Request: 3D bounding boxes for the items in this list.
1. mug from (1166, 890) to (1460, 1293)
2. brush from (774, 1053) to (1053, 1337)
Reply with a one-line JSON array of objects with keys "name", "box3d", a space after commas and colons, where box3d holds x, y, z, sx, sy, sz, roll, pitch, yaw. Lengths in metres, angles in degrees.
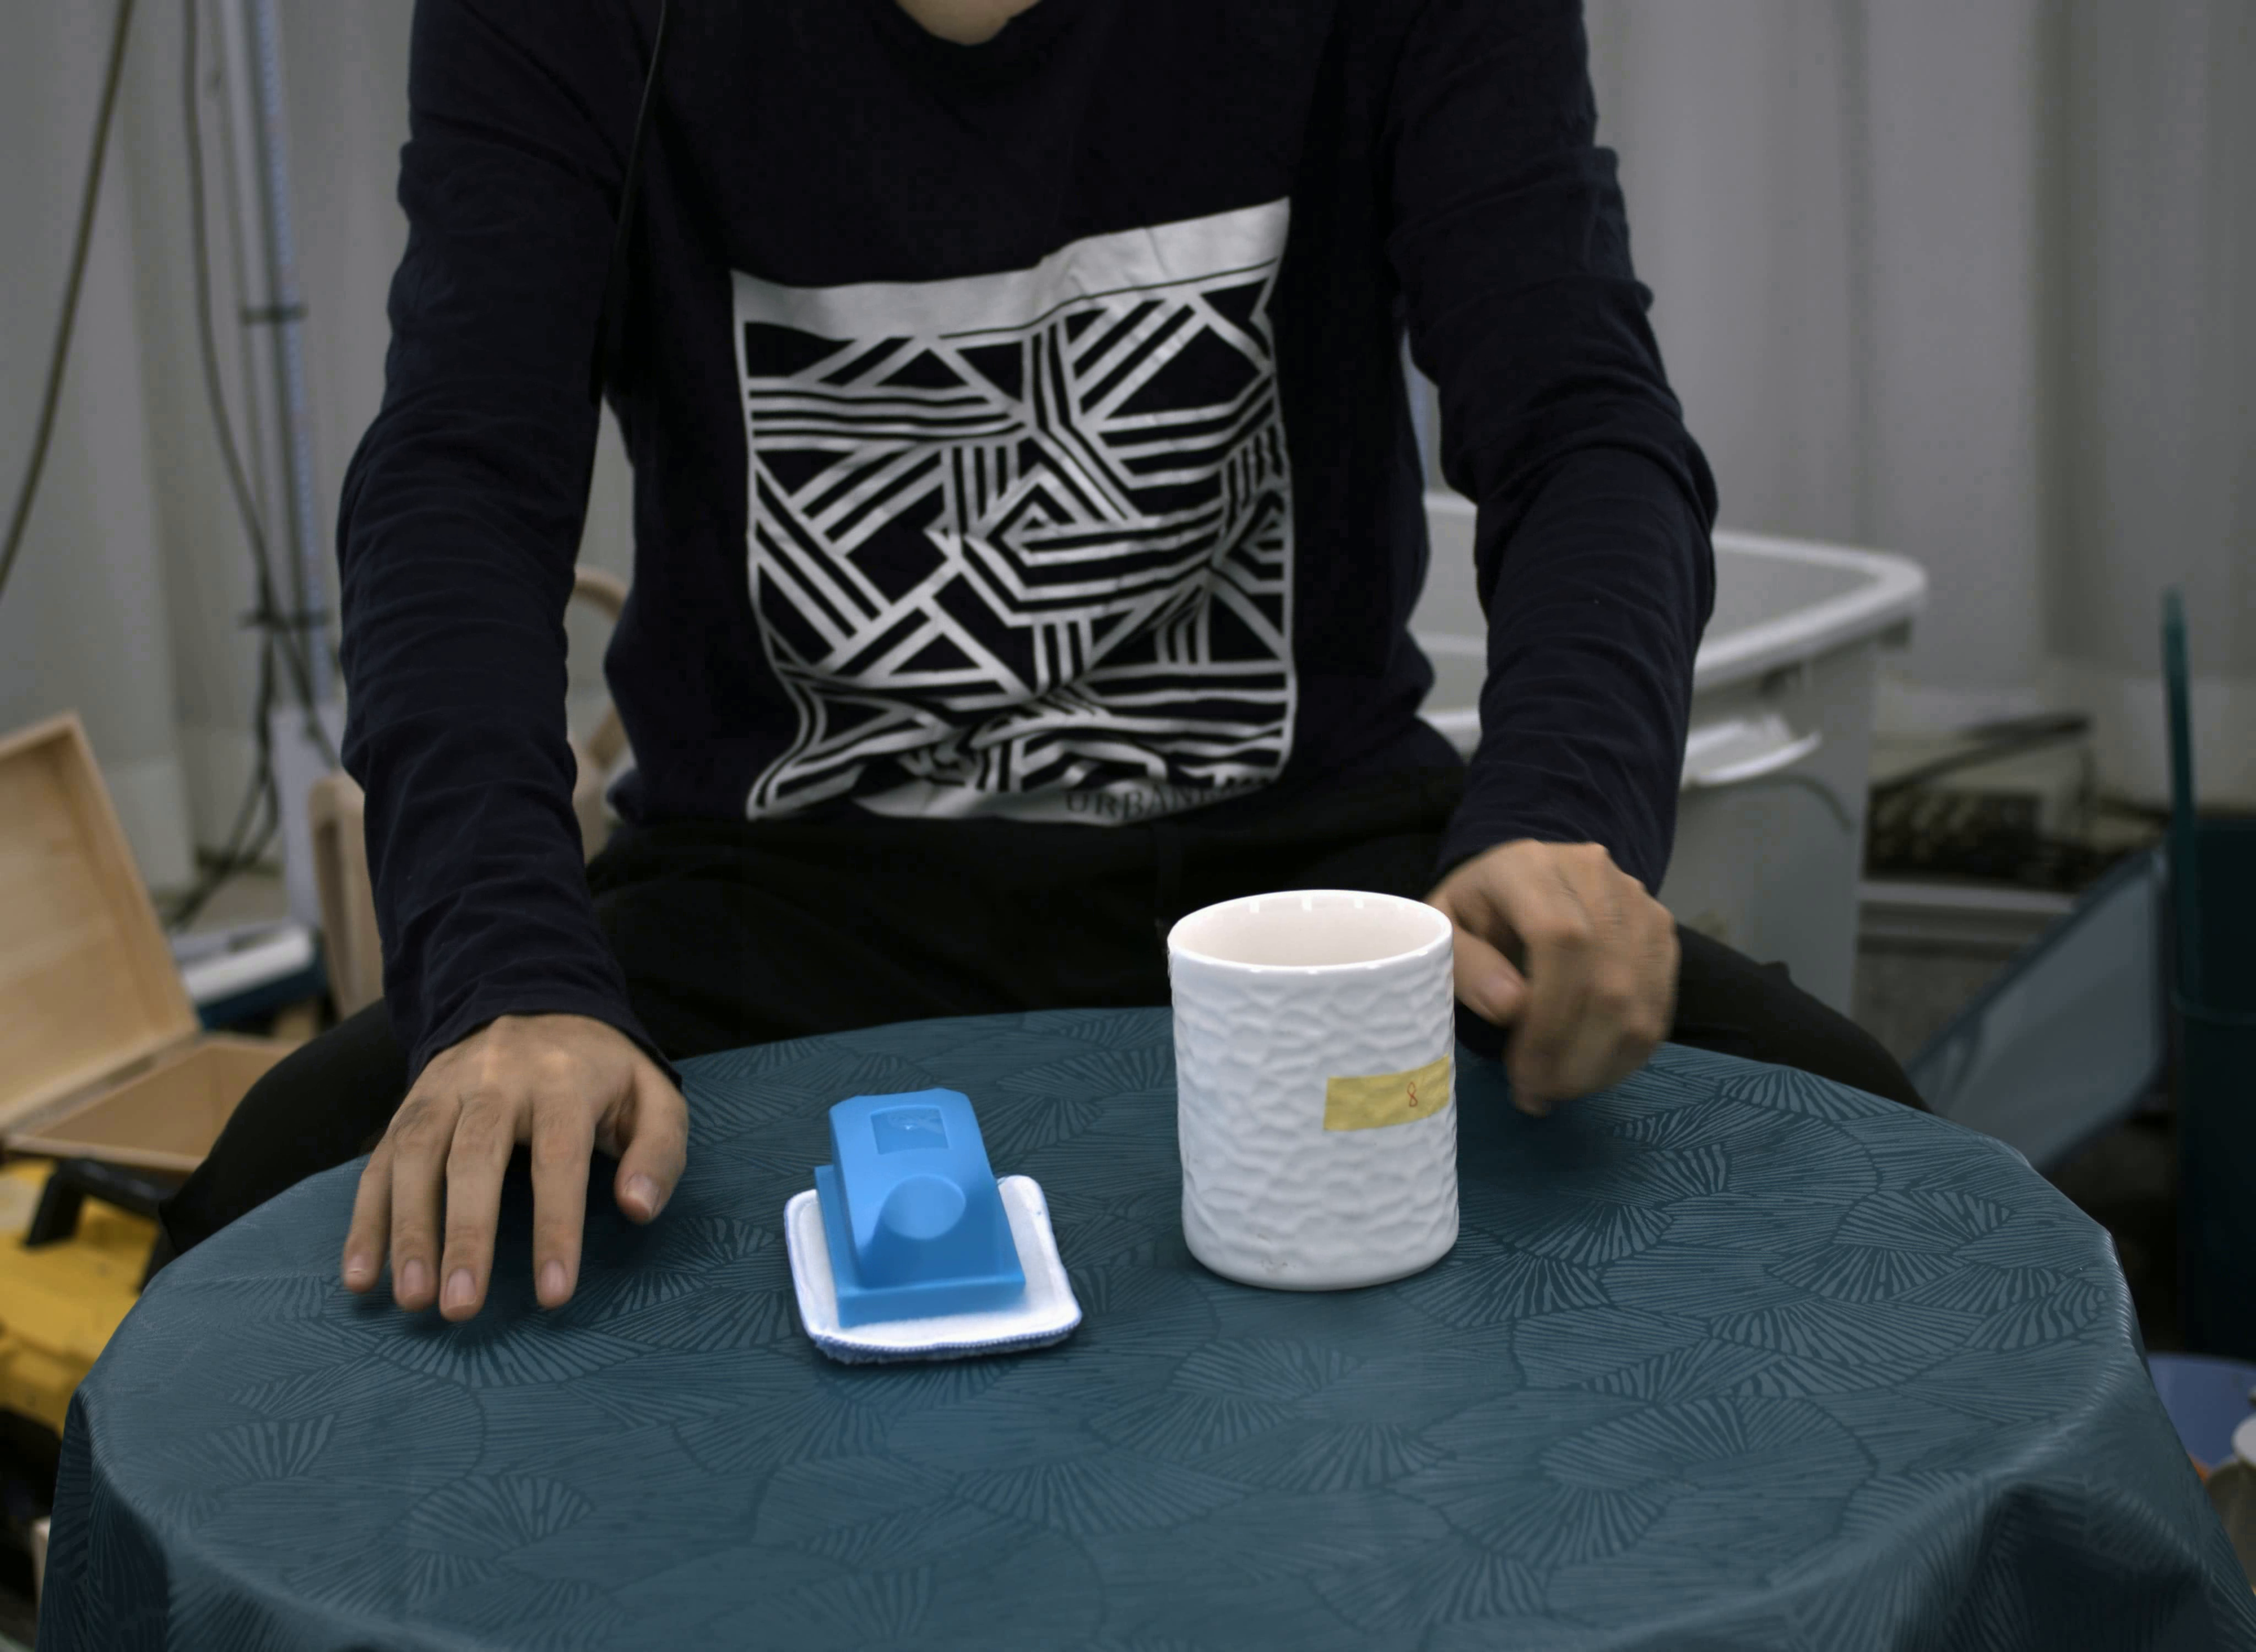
[{"name": "mug", "box3d": [0.052, 0.076, 1.657, 0.084, 0.101, 0.119, -7, 14, -15]}, {"name": "brush", "box3d": [-0.064, 0.108, 1.637, 0.083, 0.055, 0.145, -1, 17, -4]}]
